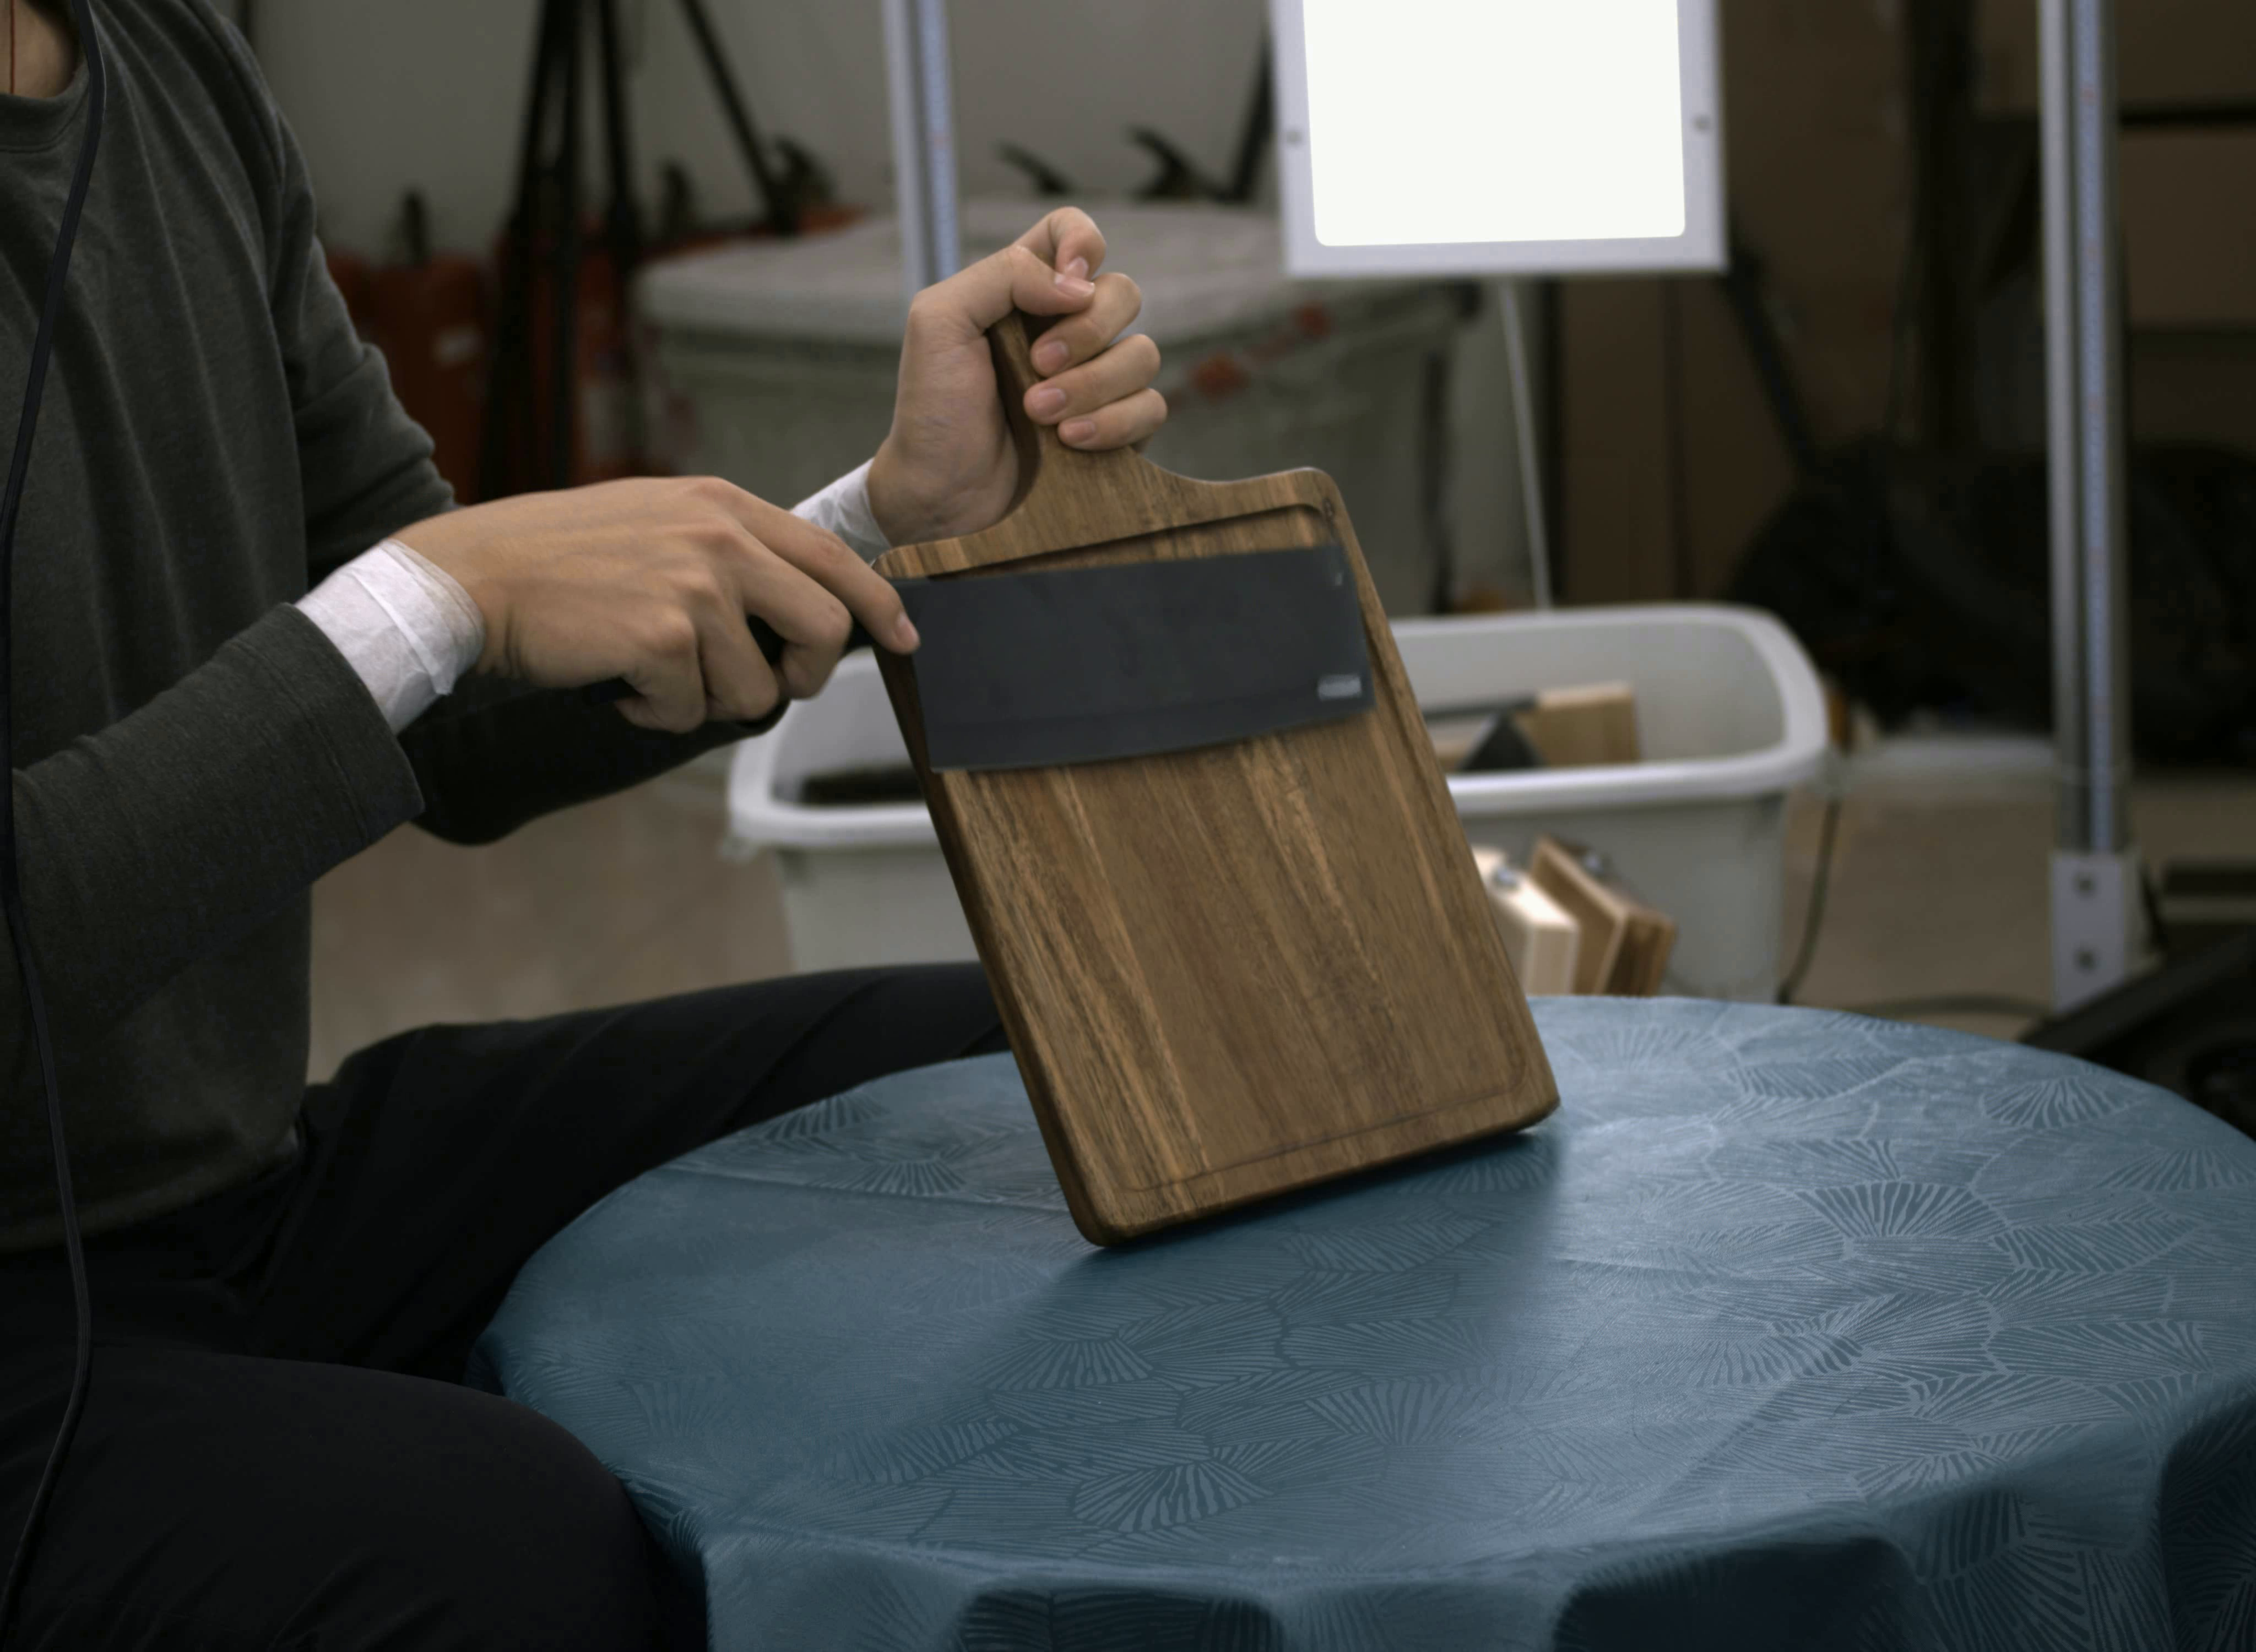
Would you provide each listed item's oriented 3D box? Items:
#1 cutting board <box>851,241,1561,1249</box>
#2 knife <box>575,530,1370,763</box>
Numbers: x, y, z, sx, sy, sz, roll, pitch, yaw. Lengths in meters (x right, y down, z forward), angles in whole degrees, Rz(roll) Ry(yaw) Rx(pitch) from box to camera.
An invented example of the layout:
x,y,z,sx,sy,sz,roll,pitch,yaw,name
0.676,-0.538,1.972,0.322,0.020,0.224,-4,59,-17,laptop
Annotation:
x,y,z,sx,sy,sz,roll,pitch,yaw,name
0.013,-0.041,1.914,0.196,0.353,0.023,-14,-12,-30,cutting board
-0.048,-0.060,1.874,0.296,0.081,0.021,-2,-10,-26,knife
